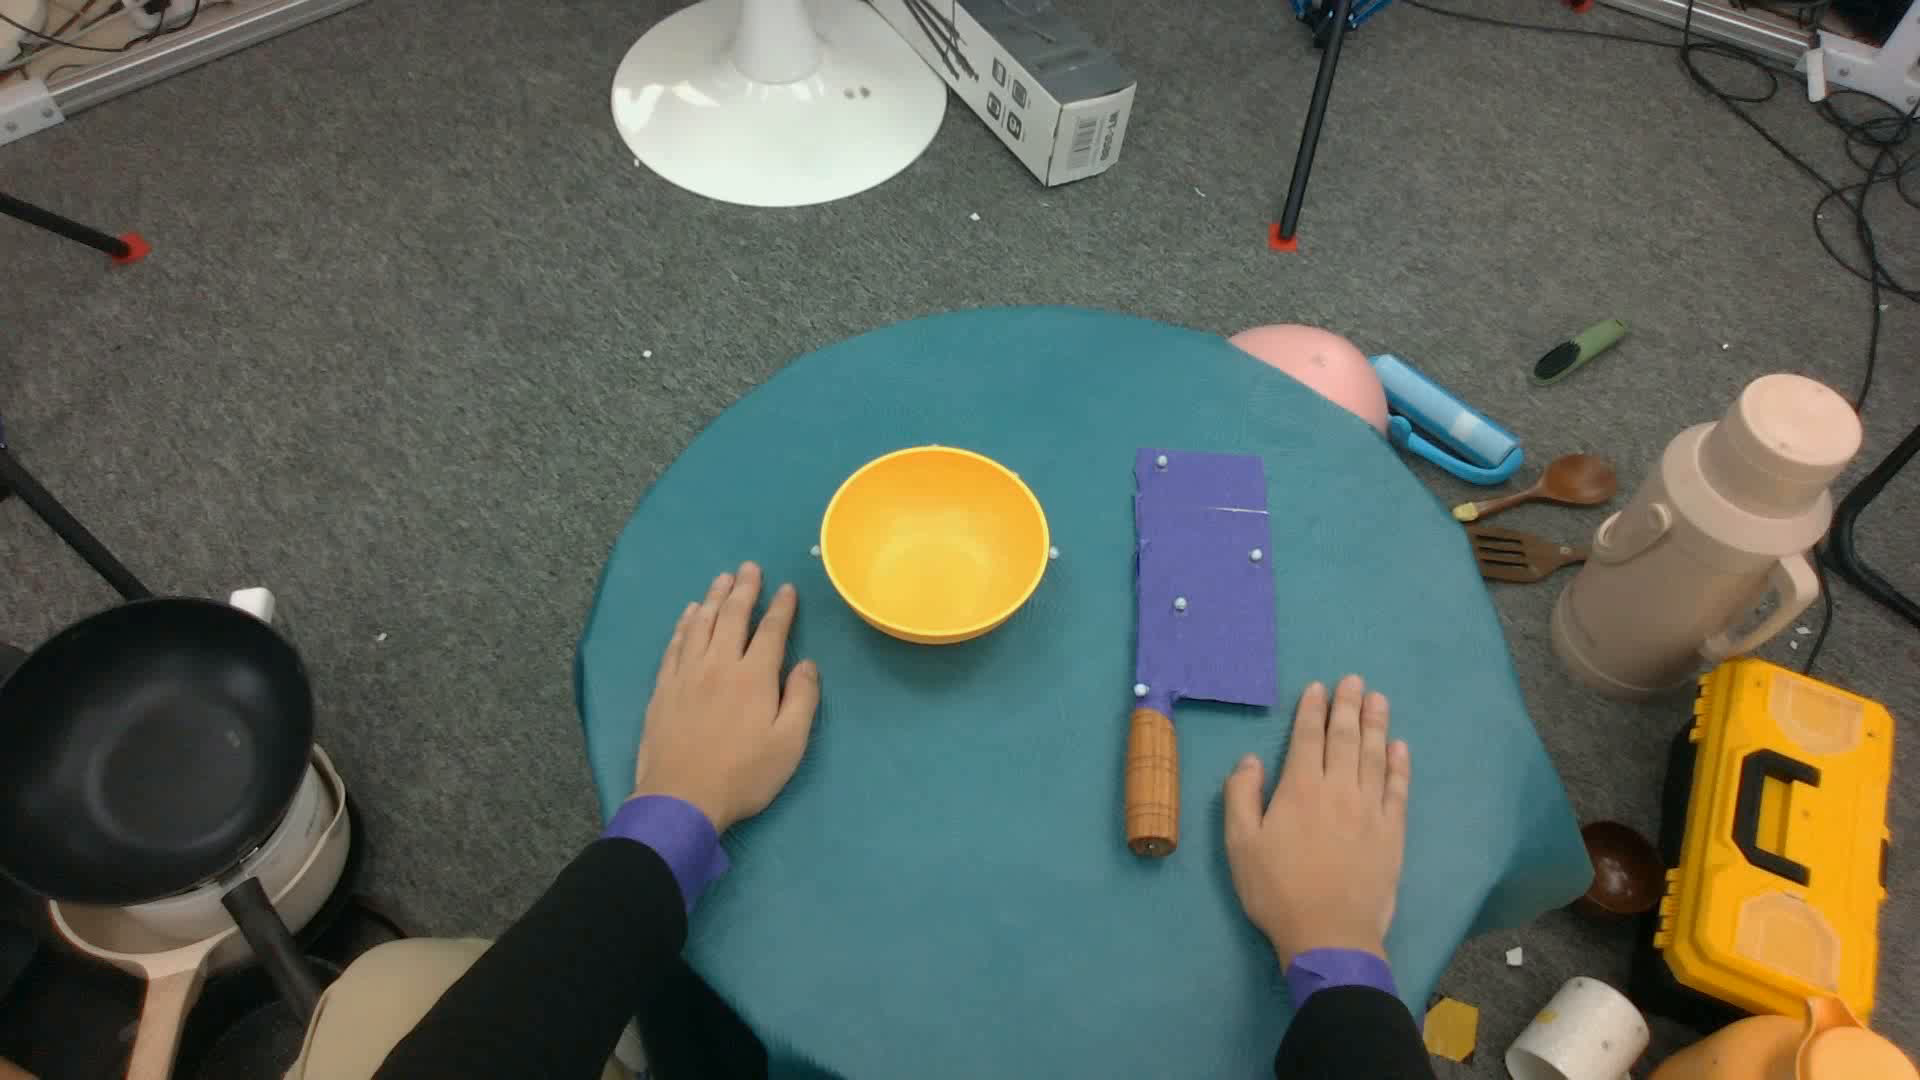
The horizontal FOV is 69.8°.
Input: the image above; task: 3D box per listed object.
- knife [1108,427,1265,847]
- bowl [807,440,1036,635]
[{"bbox_3d":[0.148,0.048,0.891,0.104,0.032,0.316,4,55,0],"label":"knife"},{"bbox_3d":[-0.024,0.008,0.888,0.145,0.060,0.146,1,55,-1],"label":"bowl"}]
